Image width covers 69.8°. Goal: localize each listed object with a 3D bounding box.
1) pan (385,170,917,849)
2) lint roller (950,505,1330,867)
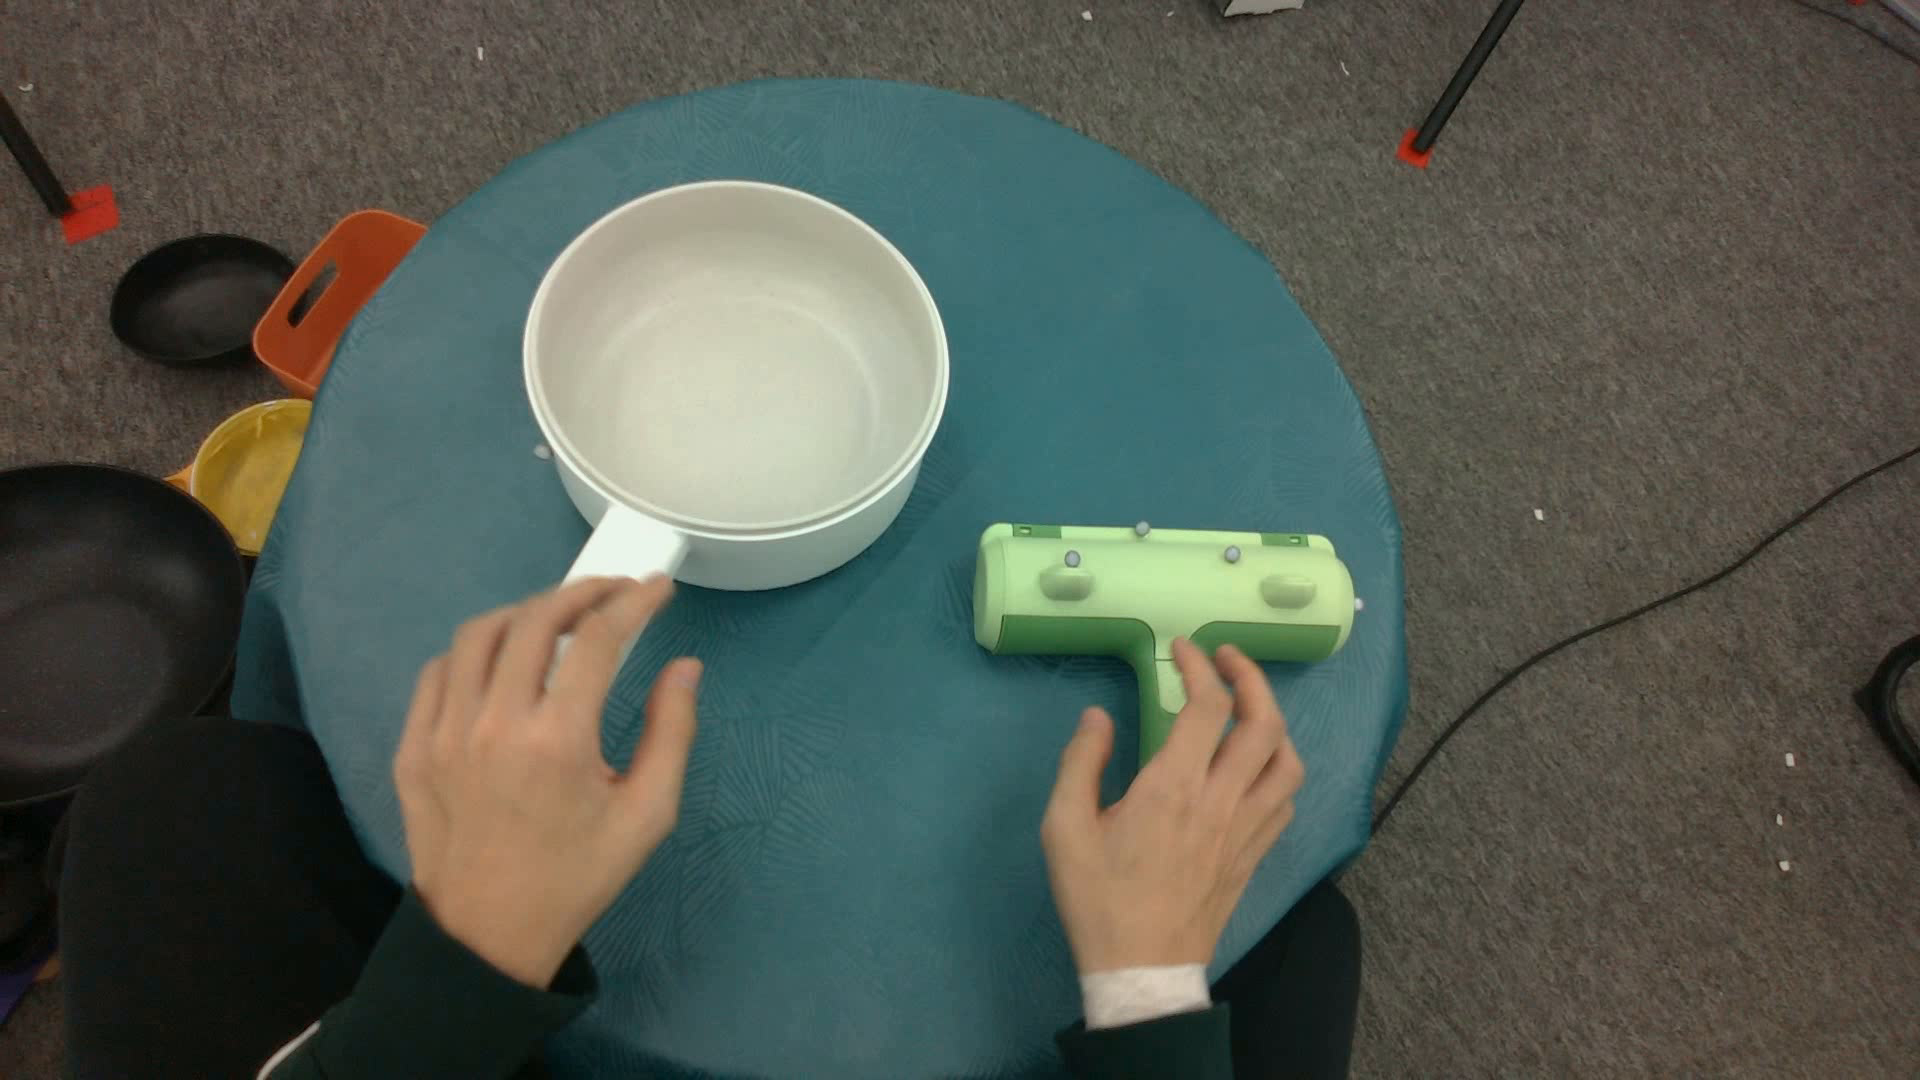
[{"bbox_3d":[-0.155,-0.015,0.668,0.201,0.101,0.356,23,64,1],"label":"pan"},{"bbox_3d":[0.099,0.064,0.690,0.199,0.082,0.184,1,60,-10],"label":"lint roller"}]
